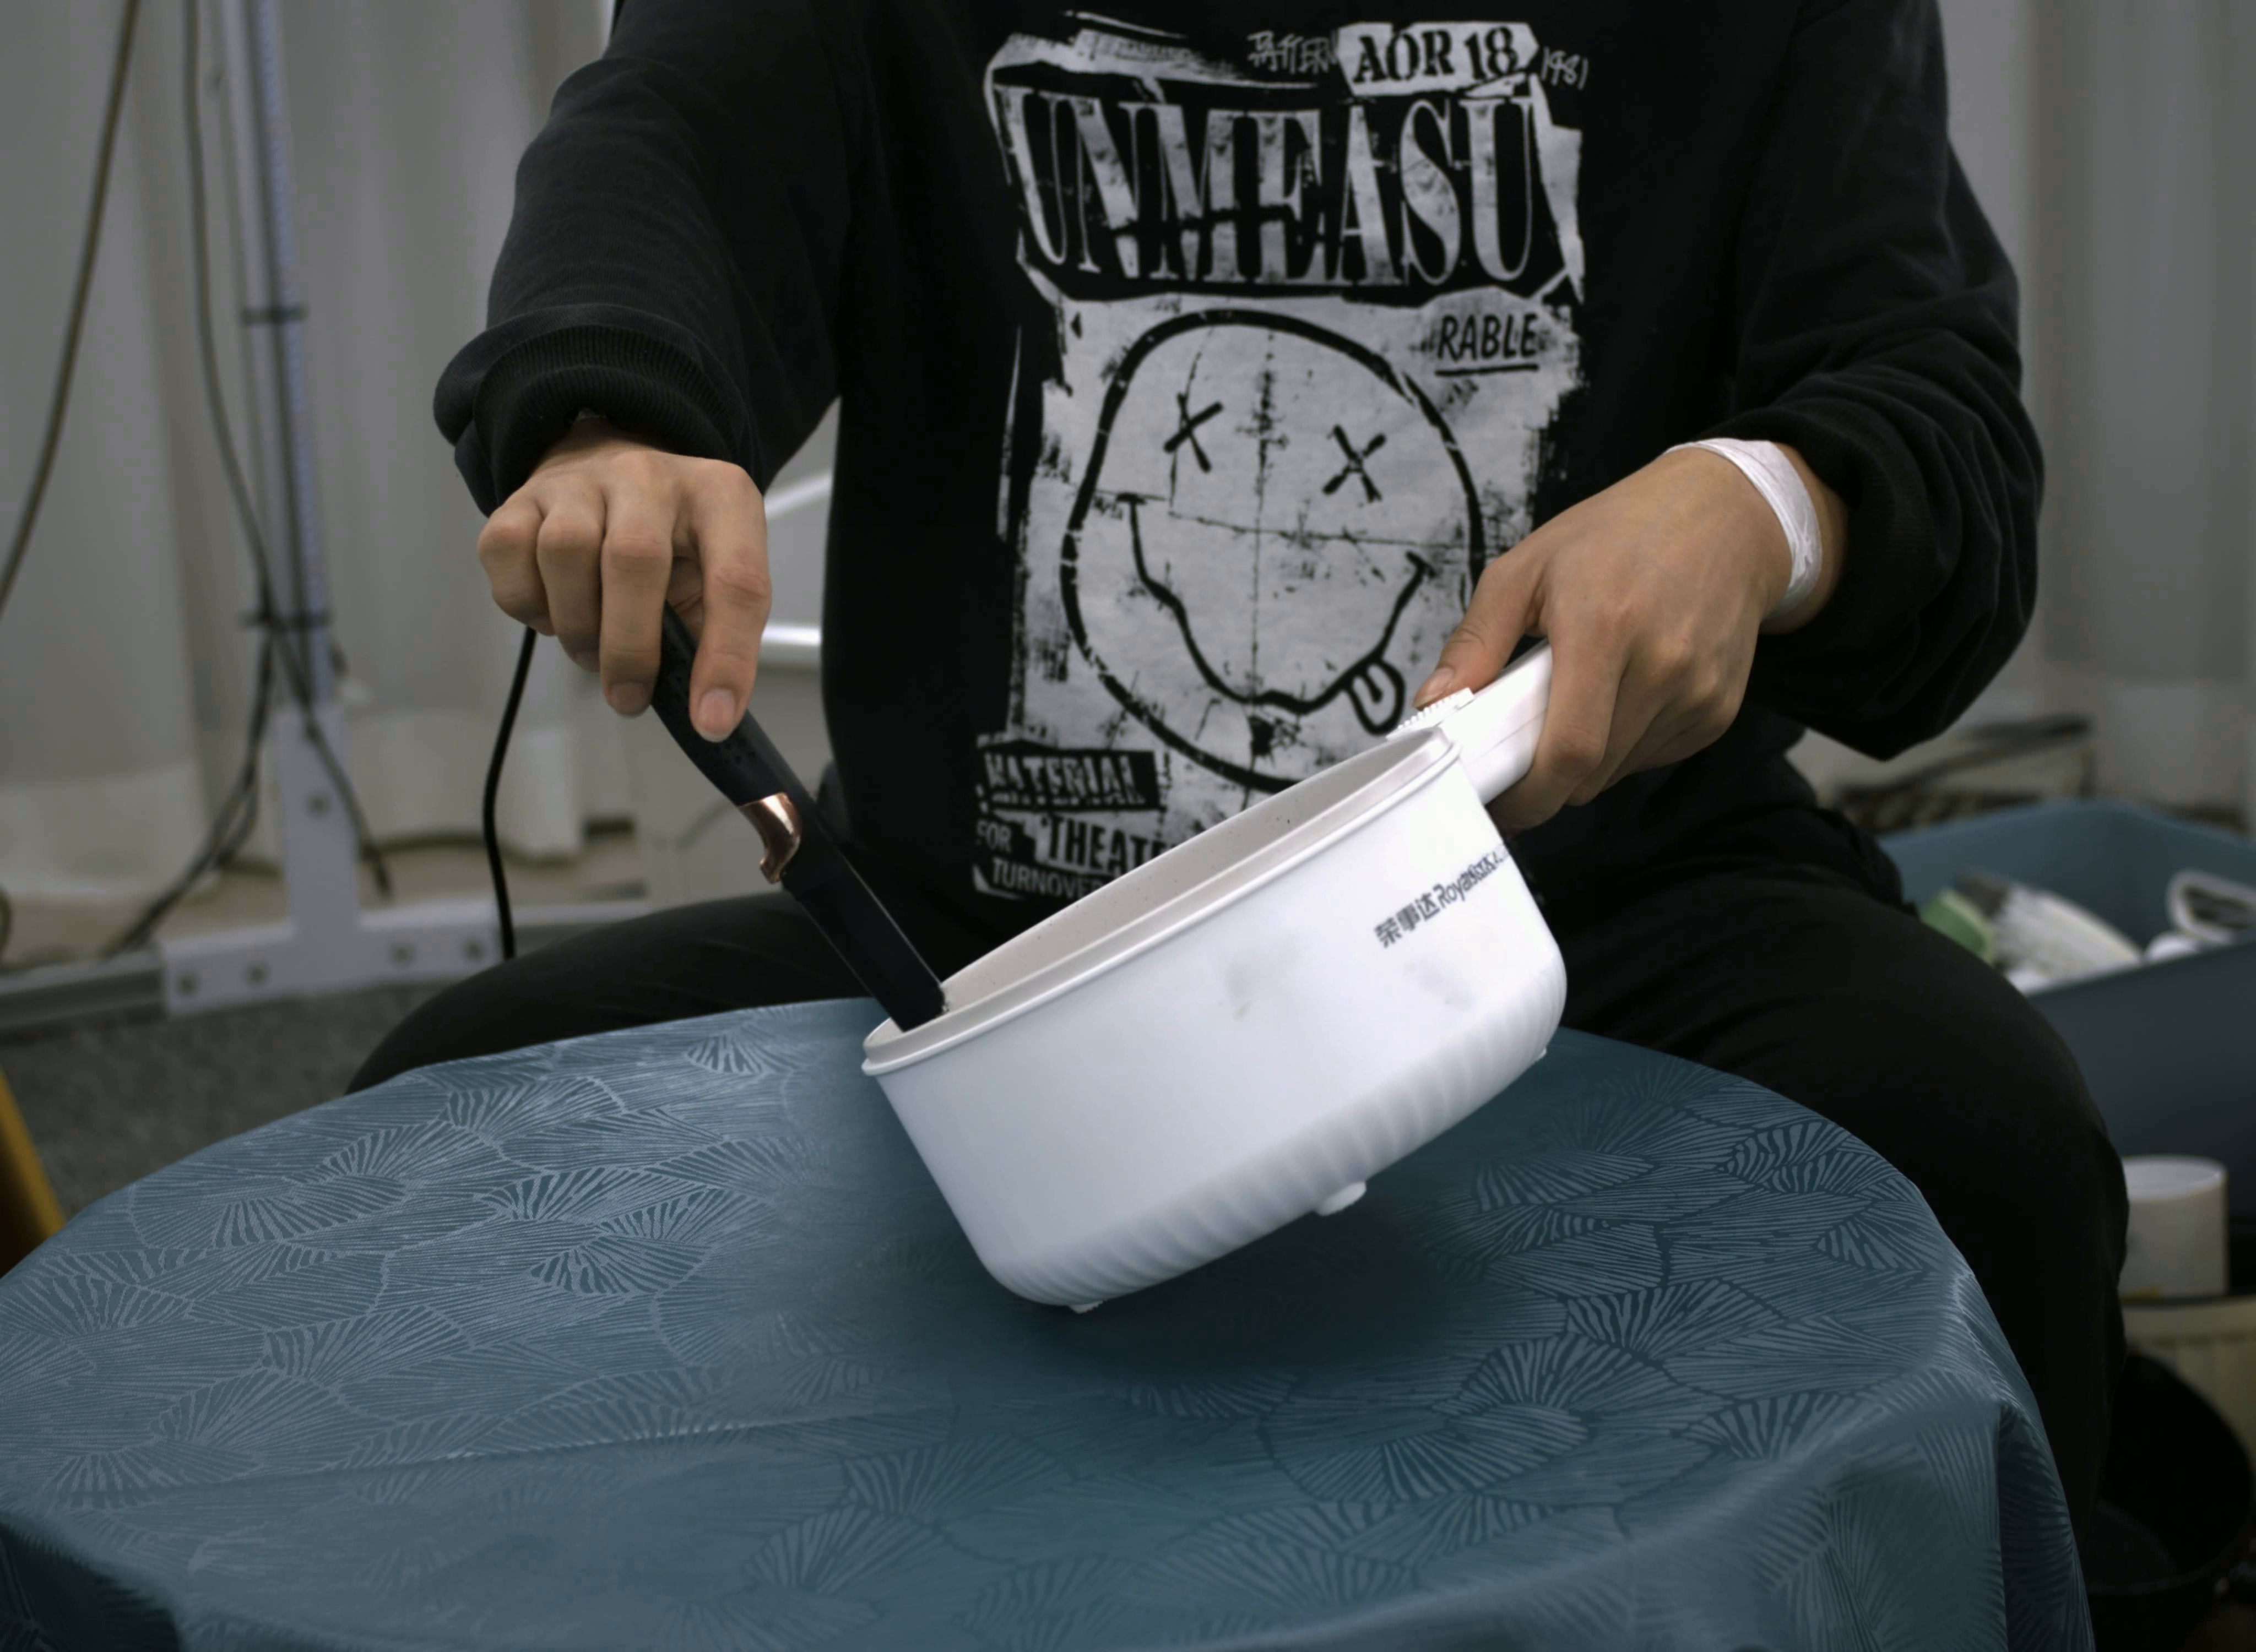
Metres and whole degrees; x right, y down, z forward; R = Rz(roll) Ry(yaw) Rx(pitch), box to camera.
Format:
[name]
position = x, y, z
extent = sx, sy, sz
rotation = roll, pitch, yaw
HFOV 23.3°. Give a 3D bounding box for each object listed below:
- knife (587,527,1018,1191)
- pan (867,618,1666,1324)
[knife]
position = -0.090, 0.008, 1.571
extent = 0.026, 0.227, 0.017
rotation = -36, -12, 5
[pan]
position = 0.075, 0.038, 1.666
extent = 0.200, 0.102, 0.355
rotation = -28, 2, 41
